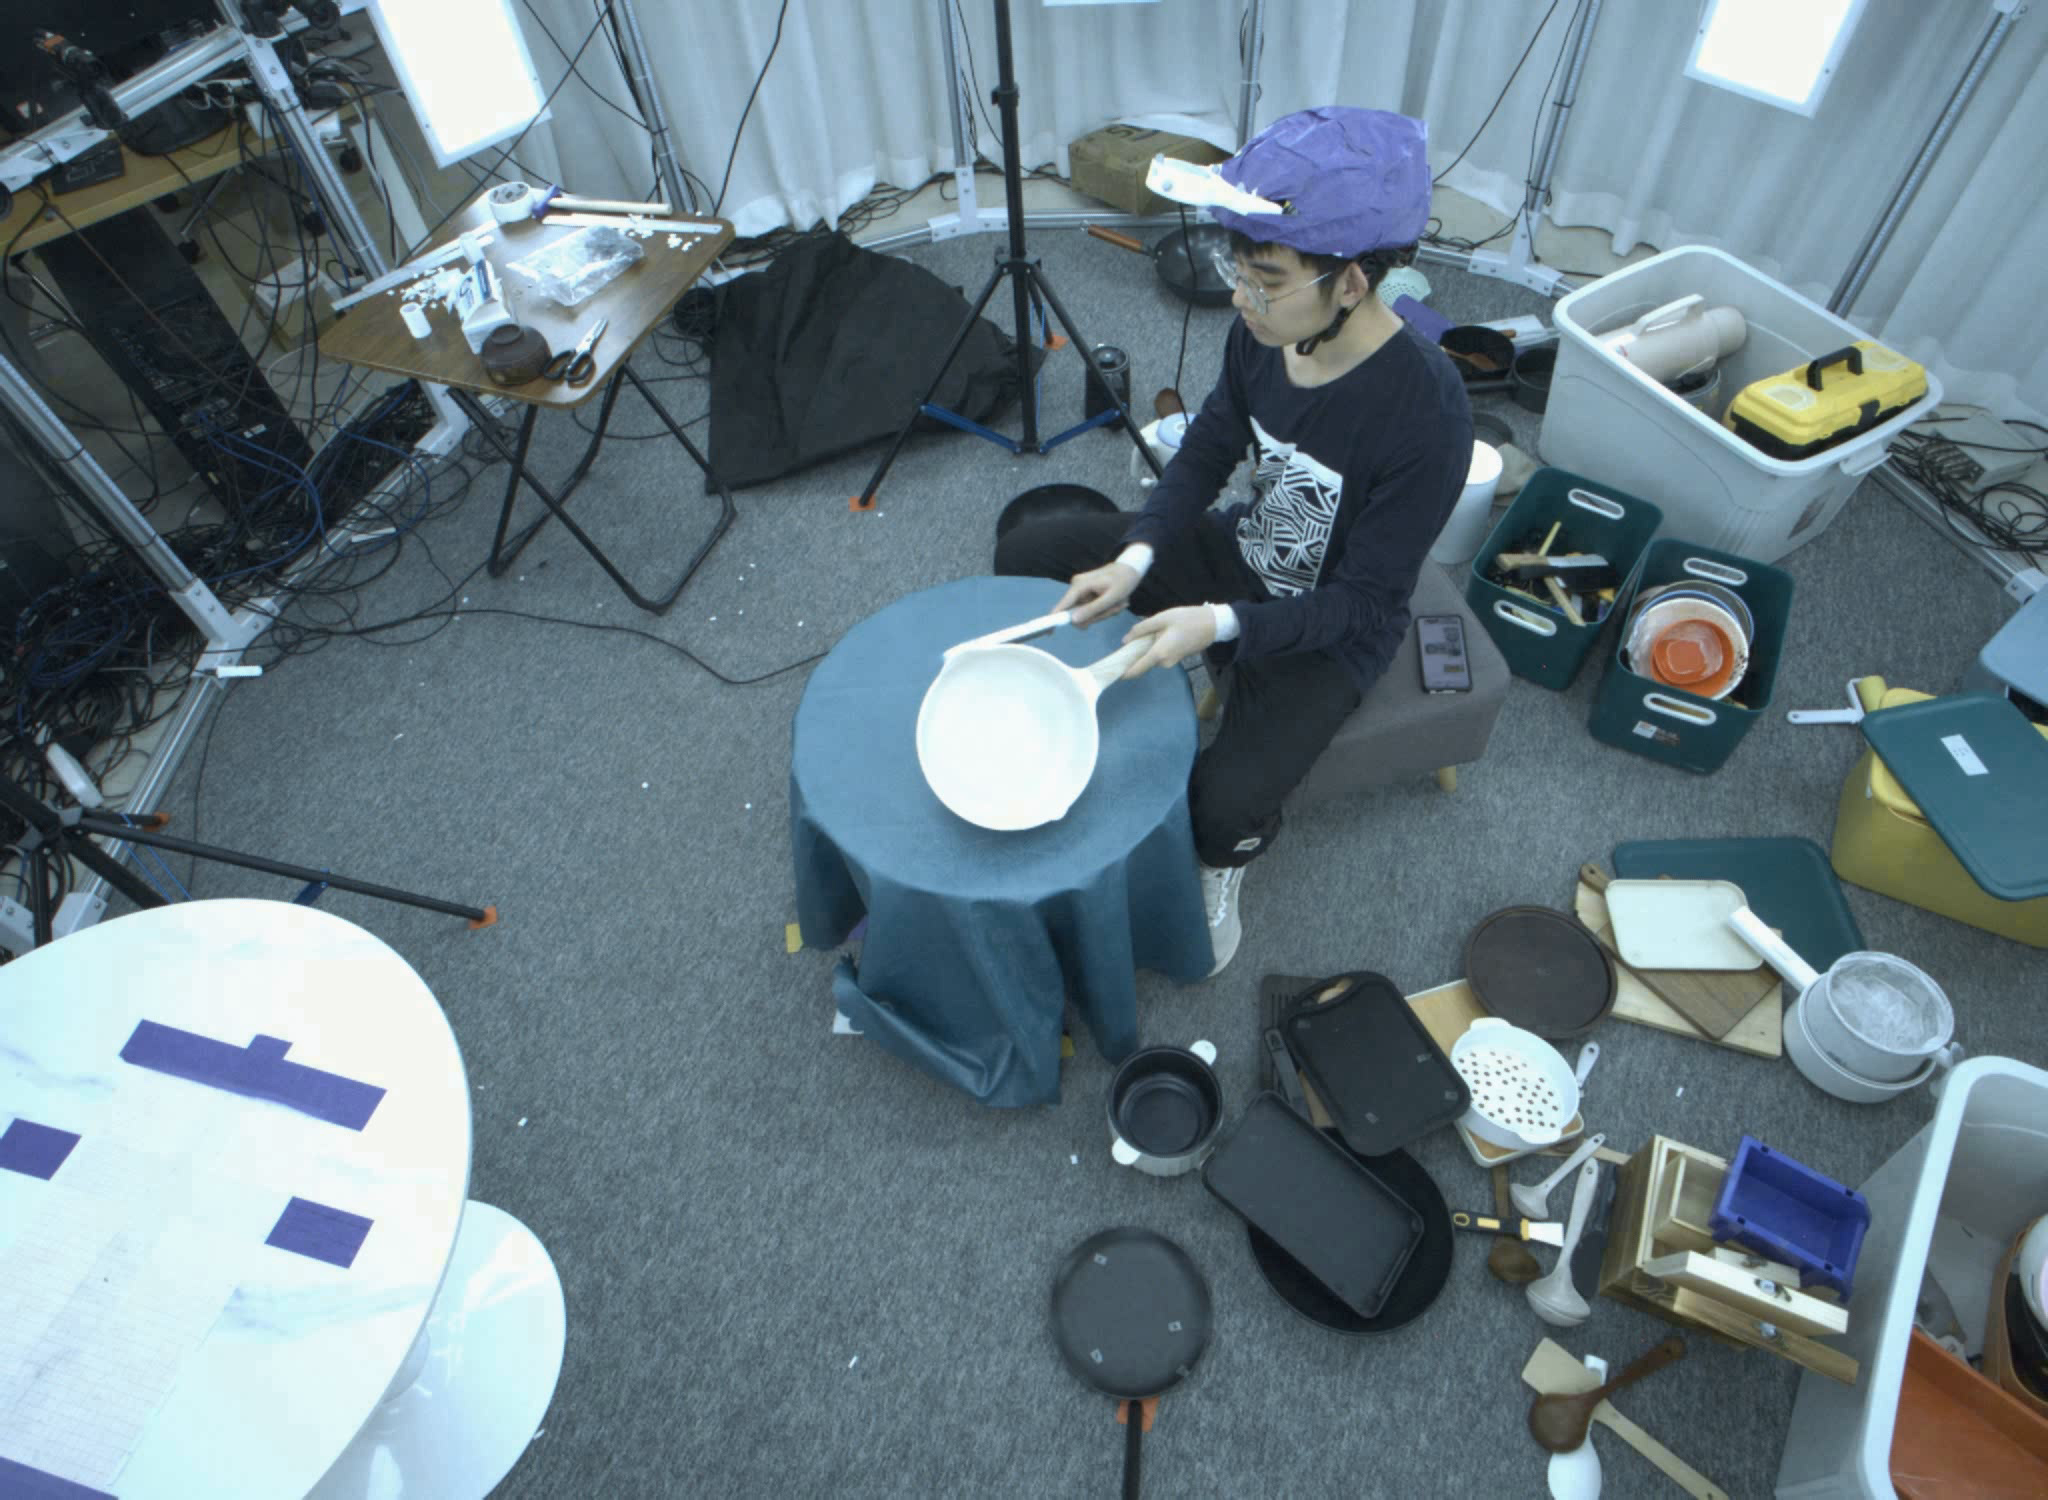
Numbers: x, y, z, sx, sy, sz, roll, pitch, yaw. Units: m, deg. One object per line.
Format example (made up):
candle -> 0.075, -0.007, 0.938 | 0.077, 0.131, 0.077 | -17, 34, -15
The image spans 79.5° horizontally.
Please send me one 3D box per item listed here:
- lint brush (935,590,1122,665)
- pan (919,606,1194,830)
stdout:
lint brush -> 0.011, -0.176, 1.734 | 0.313, 0.059, 0.021 | -22, 84, -27
pan -> 0.051, -0.066, 1.709 | 0.437, 0.101, 0.264 | -35, 95, -13
